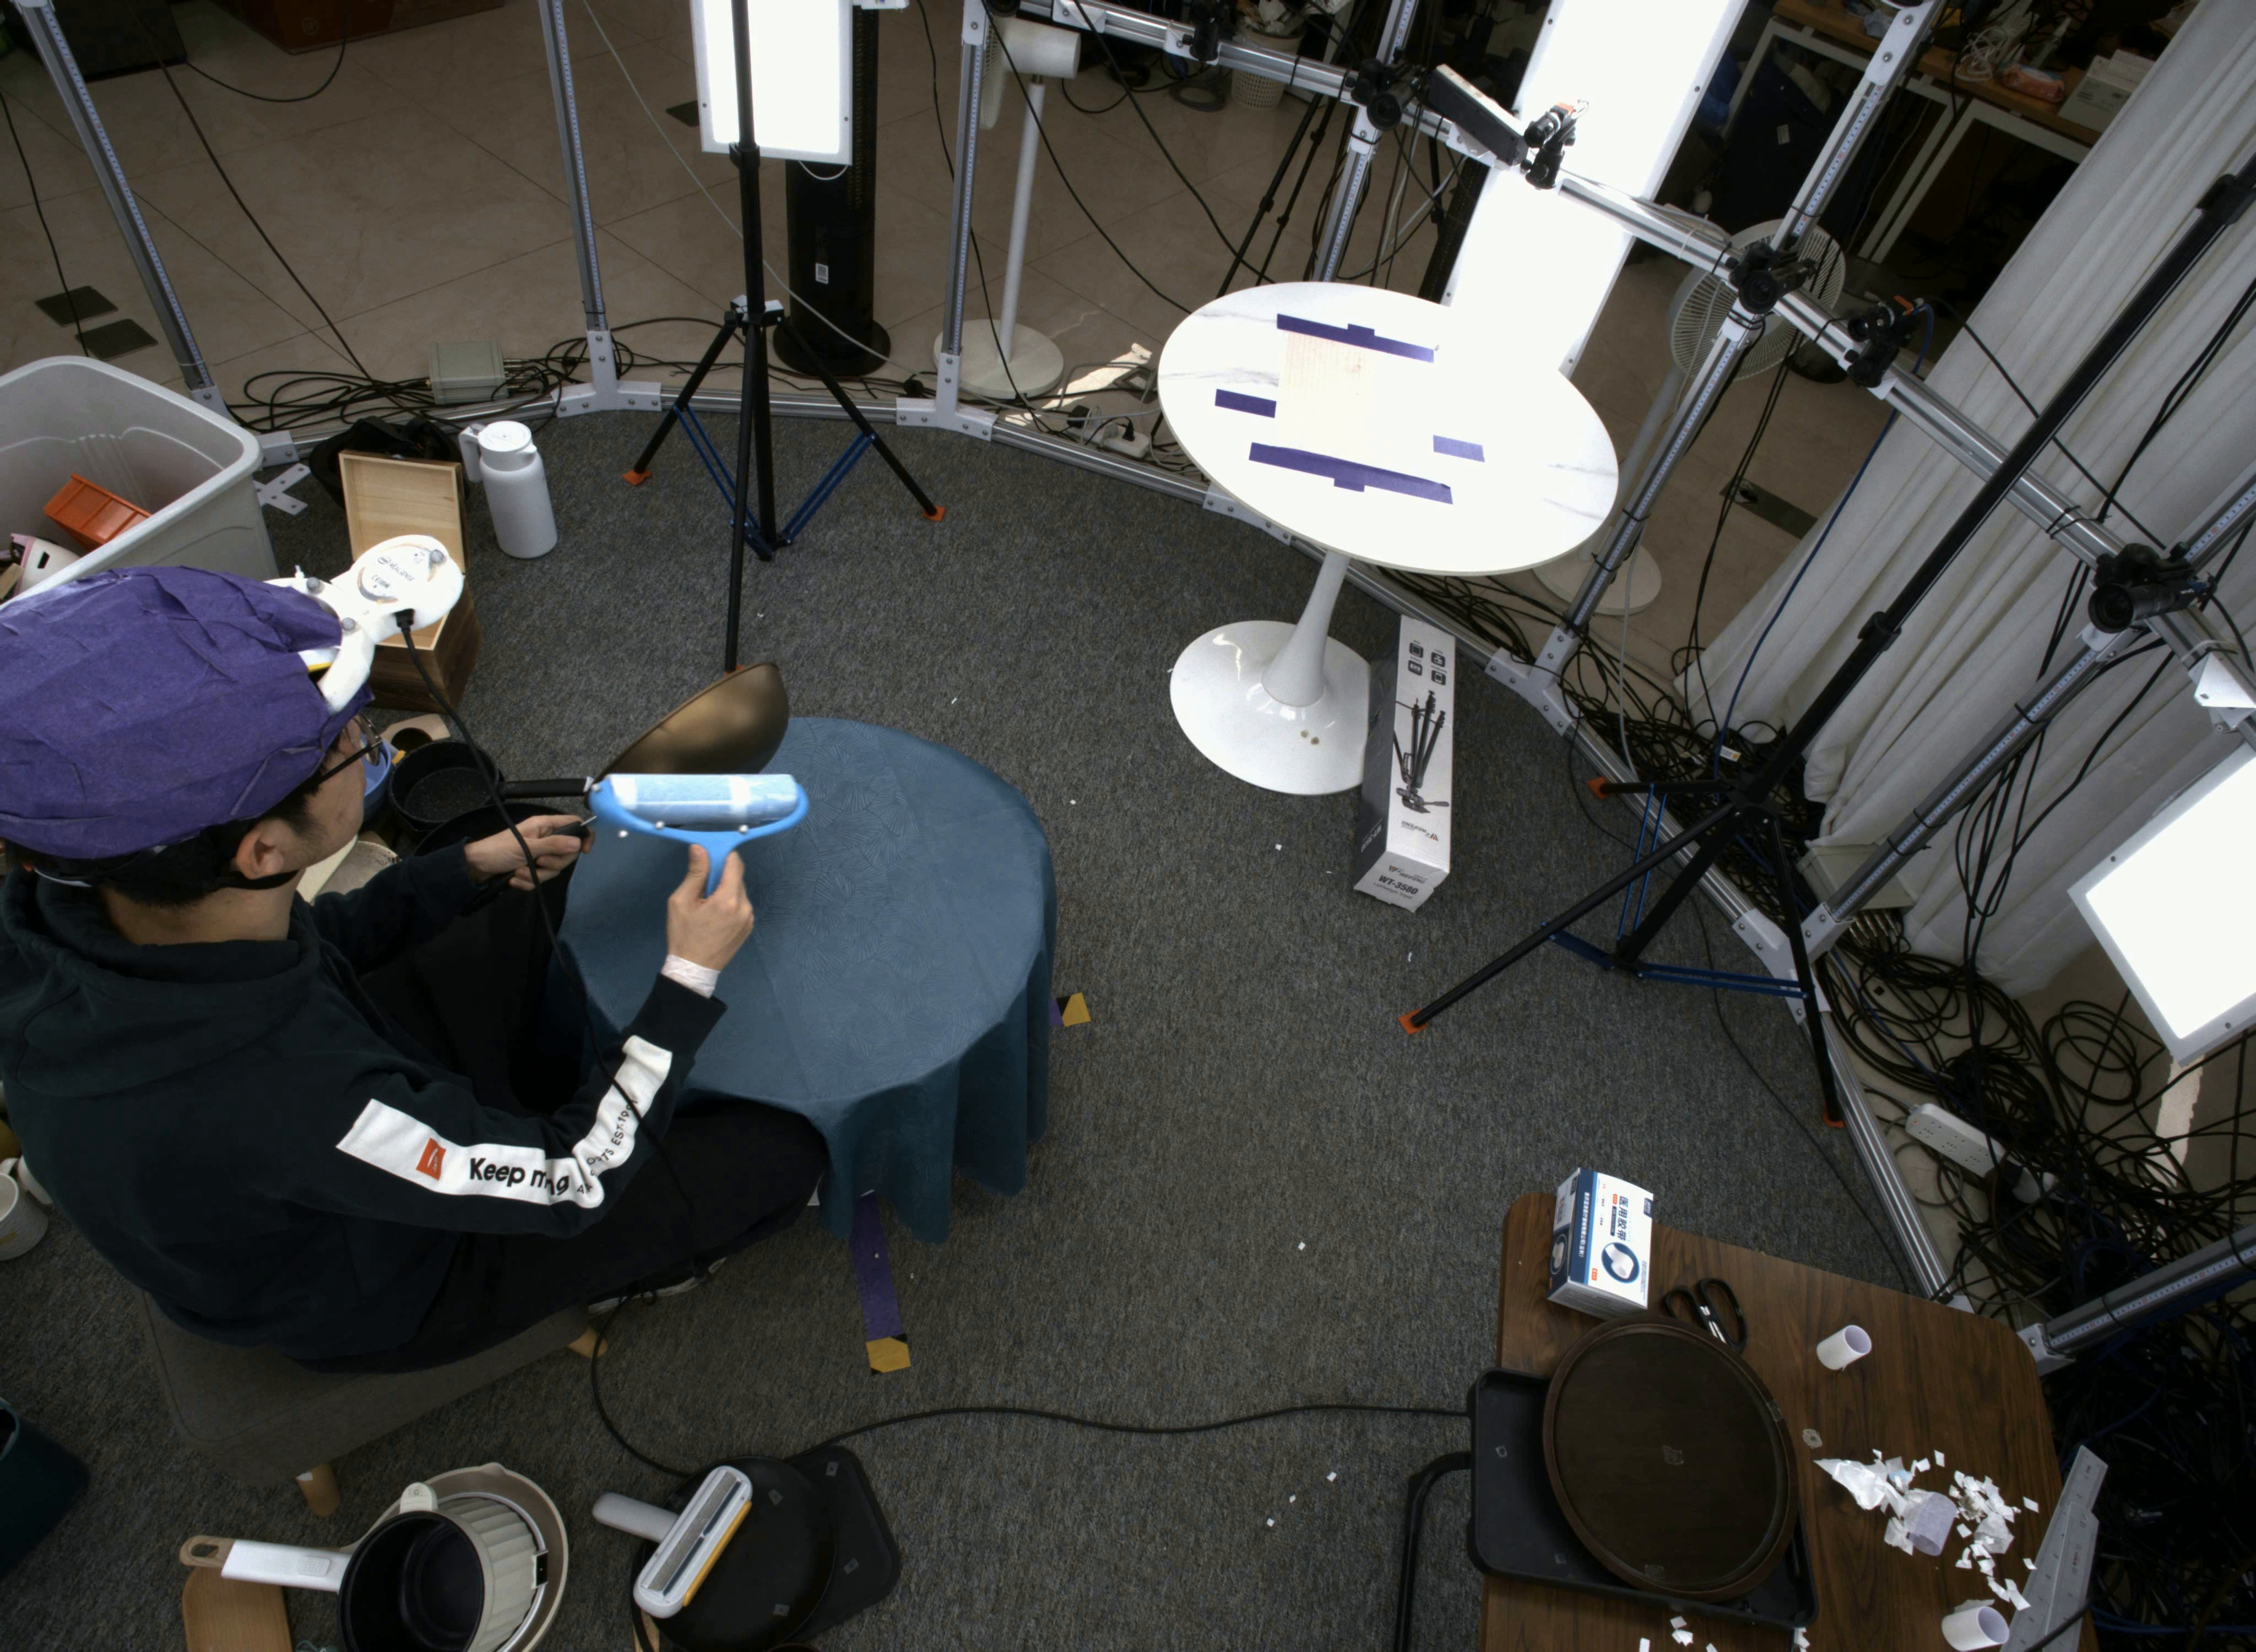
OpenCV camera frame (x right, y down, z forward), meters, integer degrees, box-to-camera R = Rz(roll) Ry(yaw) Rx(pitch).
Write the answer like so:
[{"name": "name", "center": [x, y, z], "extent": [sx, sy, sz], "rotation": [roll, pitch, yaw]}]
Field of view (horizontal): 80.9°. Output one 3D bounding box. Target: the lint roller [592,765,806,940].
[{"name": "lint roller", "center": [-0.433, 0.020, 1.335], "extent": [0.233, 0.067, 0.180], "rotation": [-5, 77, -40]}]

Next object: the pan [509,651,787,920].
[{"name": "pan", "center": [-0.568, -0.022, 1.497], "extent": [0.463, 0.287, 0.087], "rotation": [-41, 91, -8]}]
